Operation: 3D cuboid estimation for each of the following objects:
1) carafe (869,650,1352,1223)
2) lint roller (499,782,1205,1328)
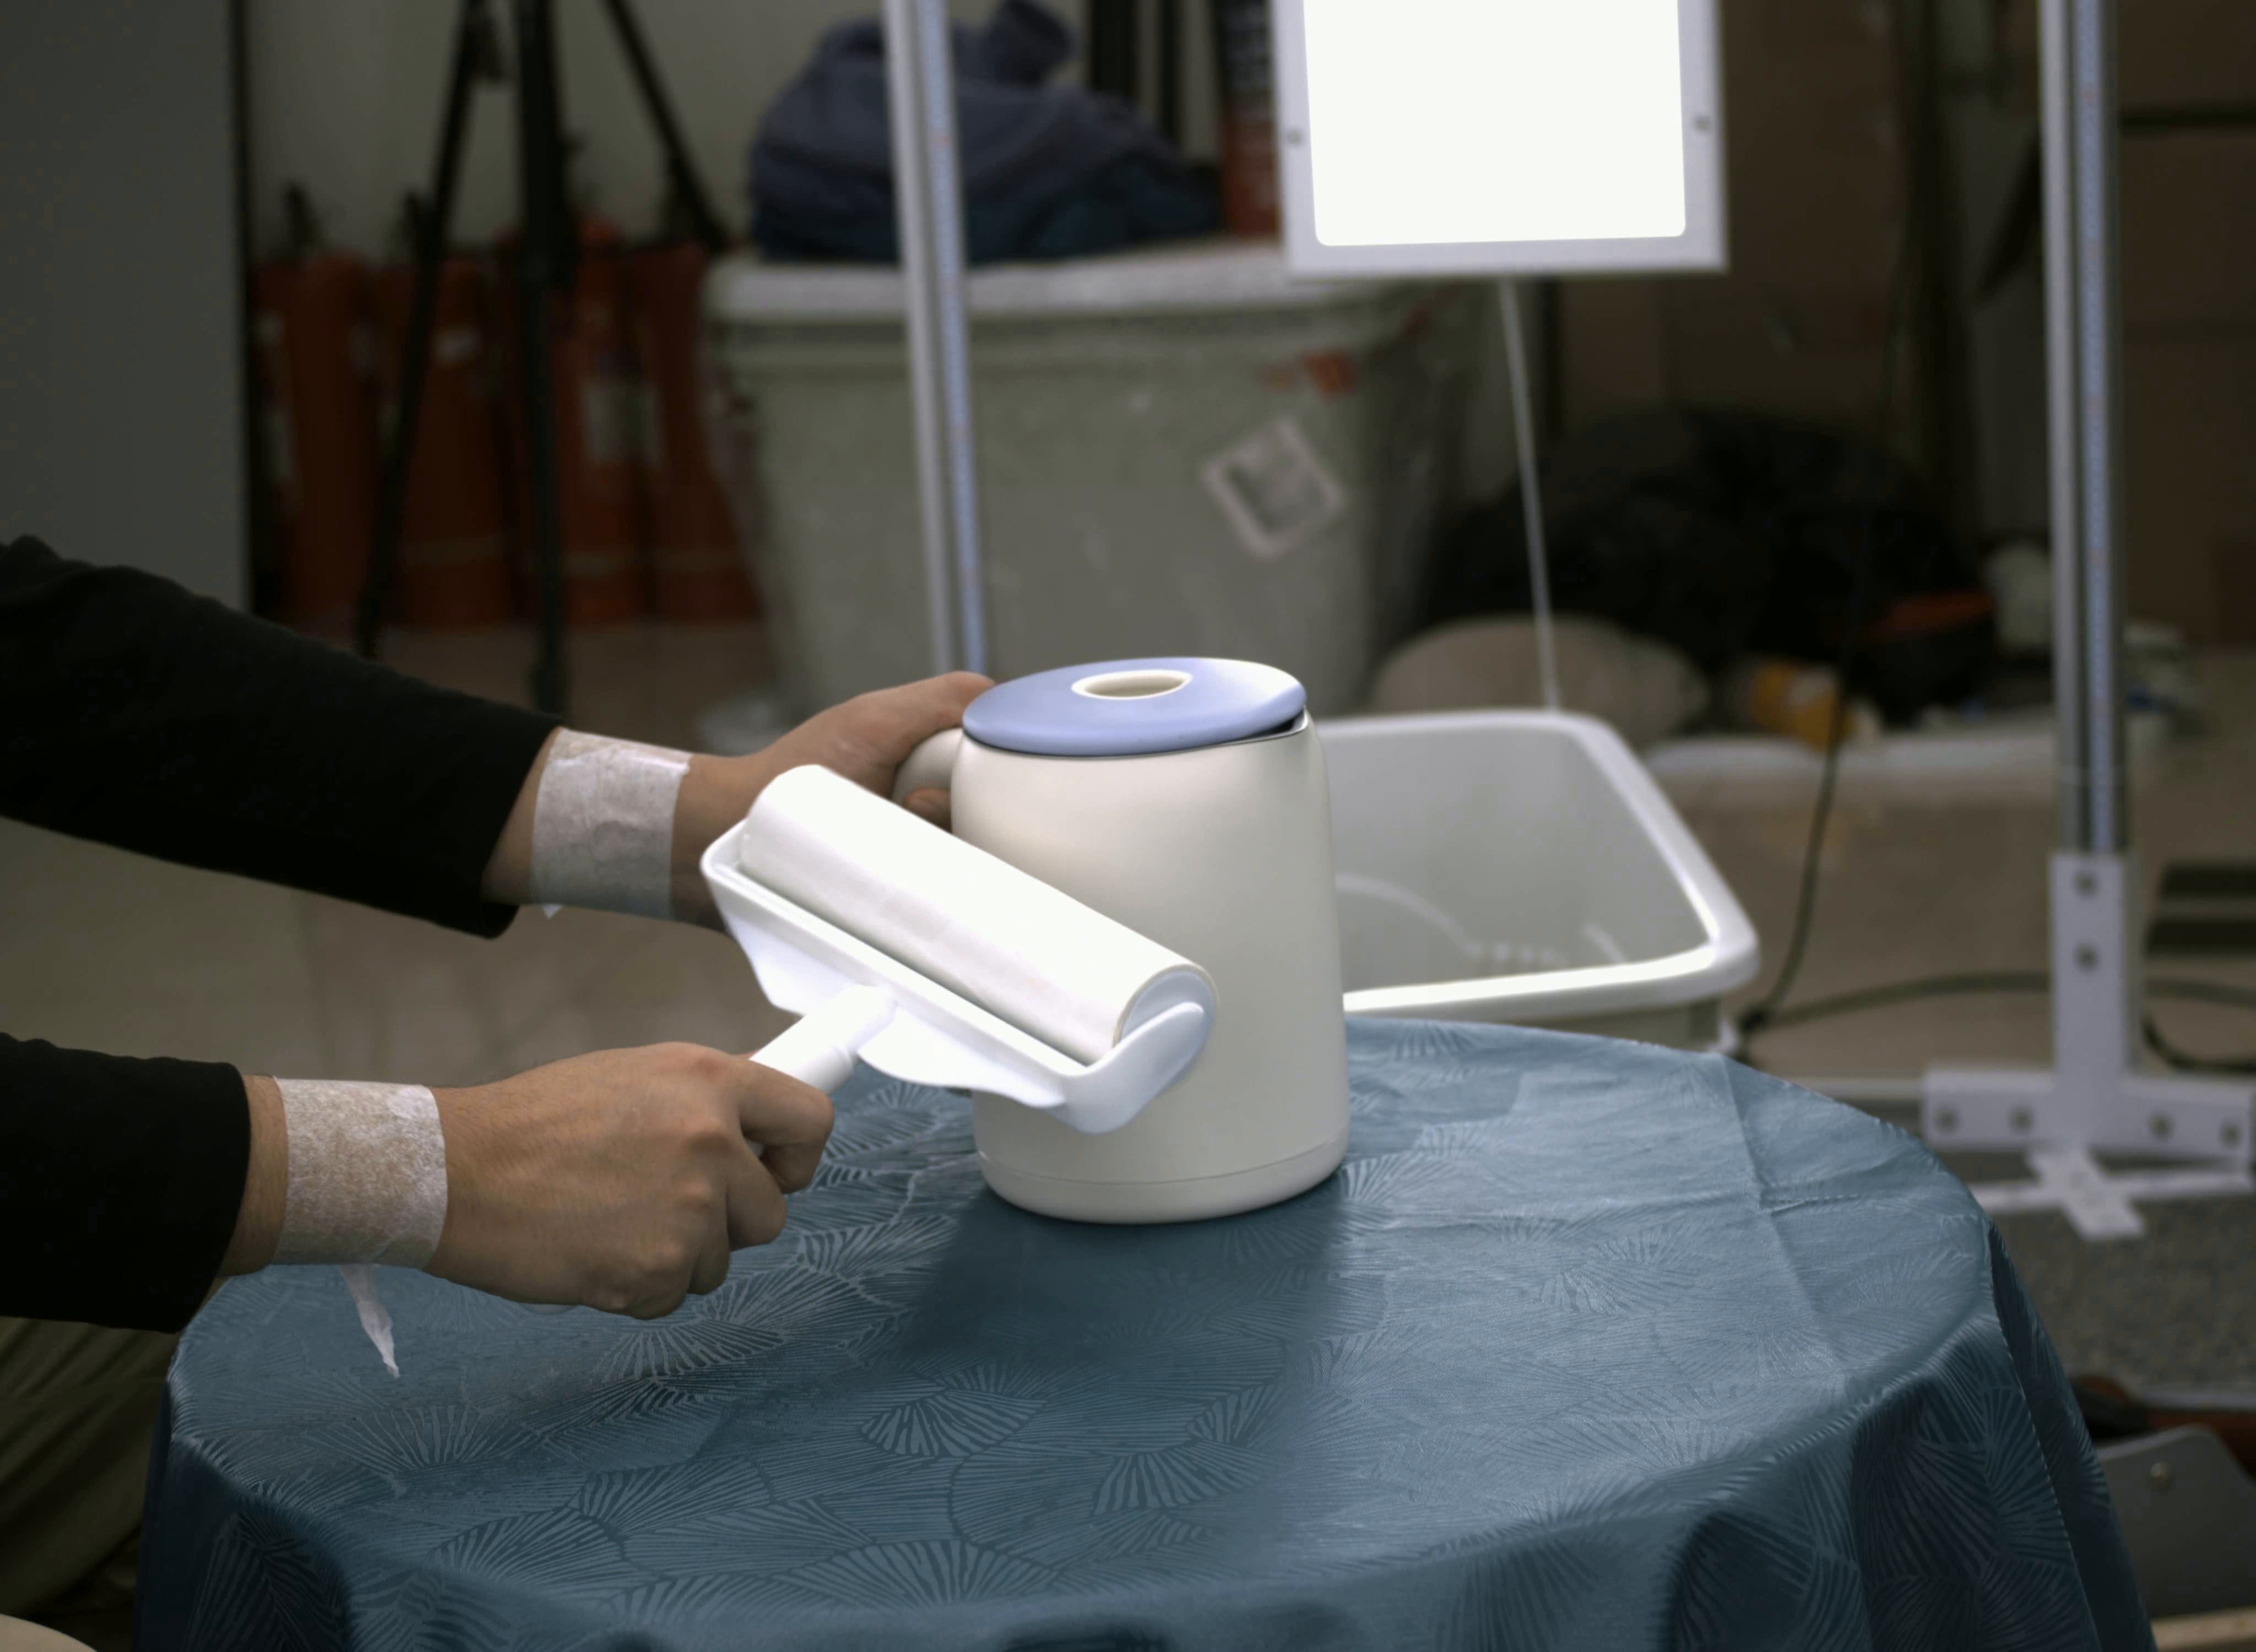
[{"bbox_3d":[-0.012,0.036,1.910,0.195,0.183,0.129,4,15,37],"label":"carafe"},{"bbox_3d":[-0.117,0.083,1.770,0.221,0.048,0.206,-37,41,-27],"label":"lint roller"}]
